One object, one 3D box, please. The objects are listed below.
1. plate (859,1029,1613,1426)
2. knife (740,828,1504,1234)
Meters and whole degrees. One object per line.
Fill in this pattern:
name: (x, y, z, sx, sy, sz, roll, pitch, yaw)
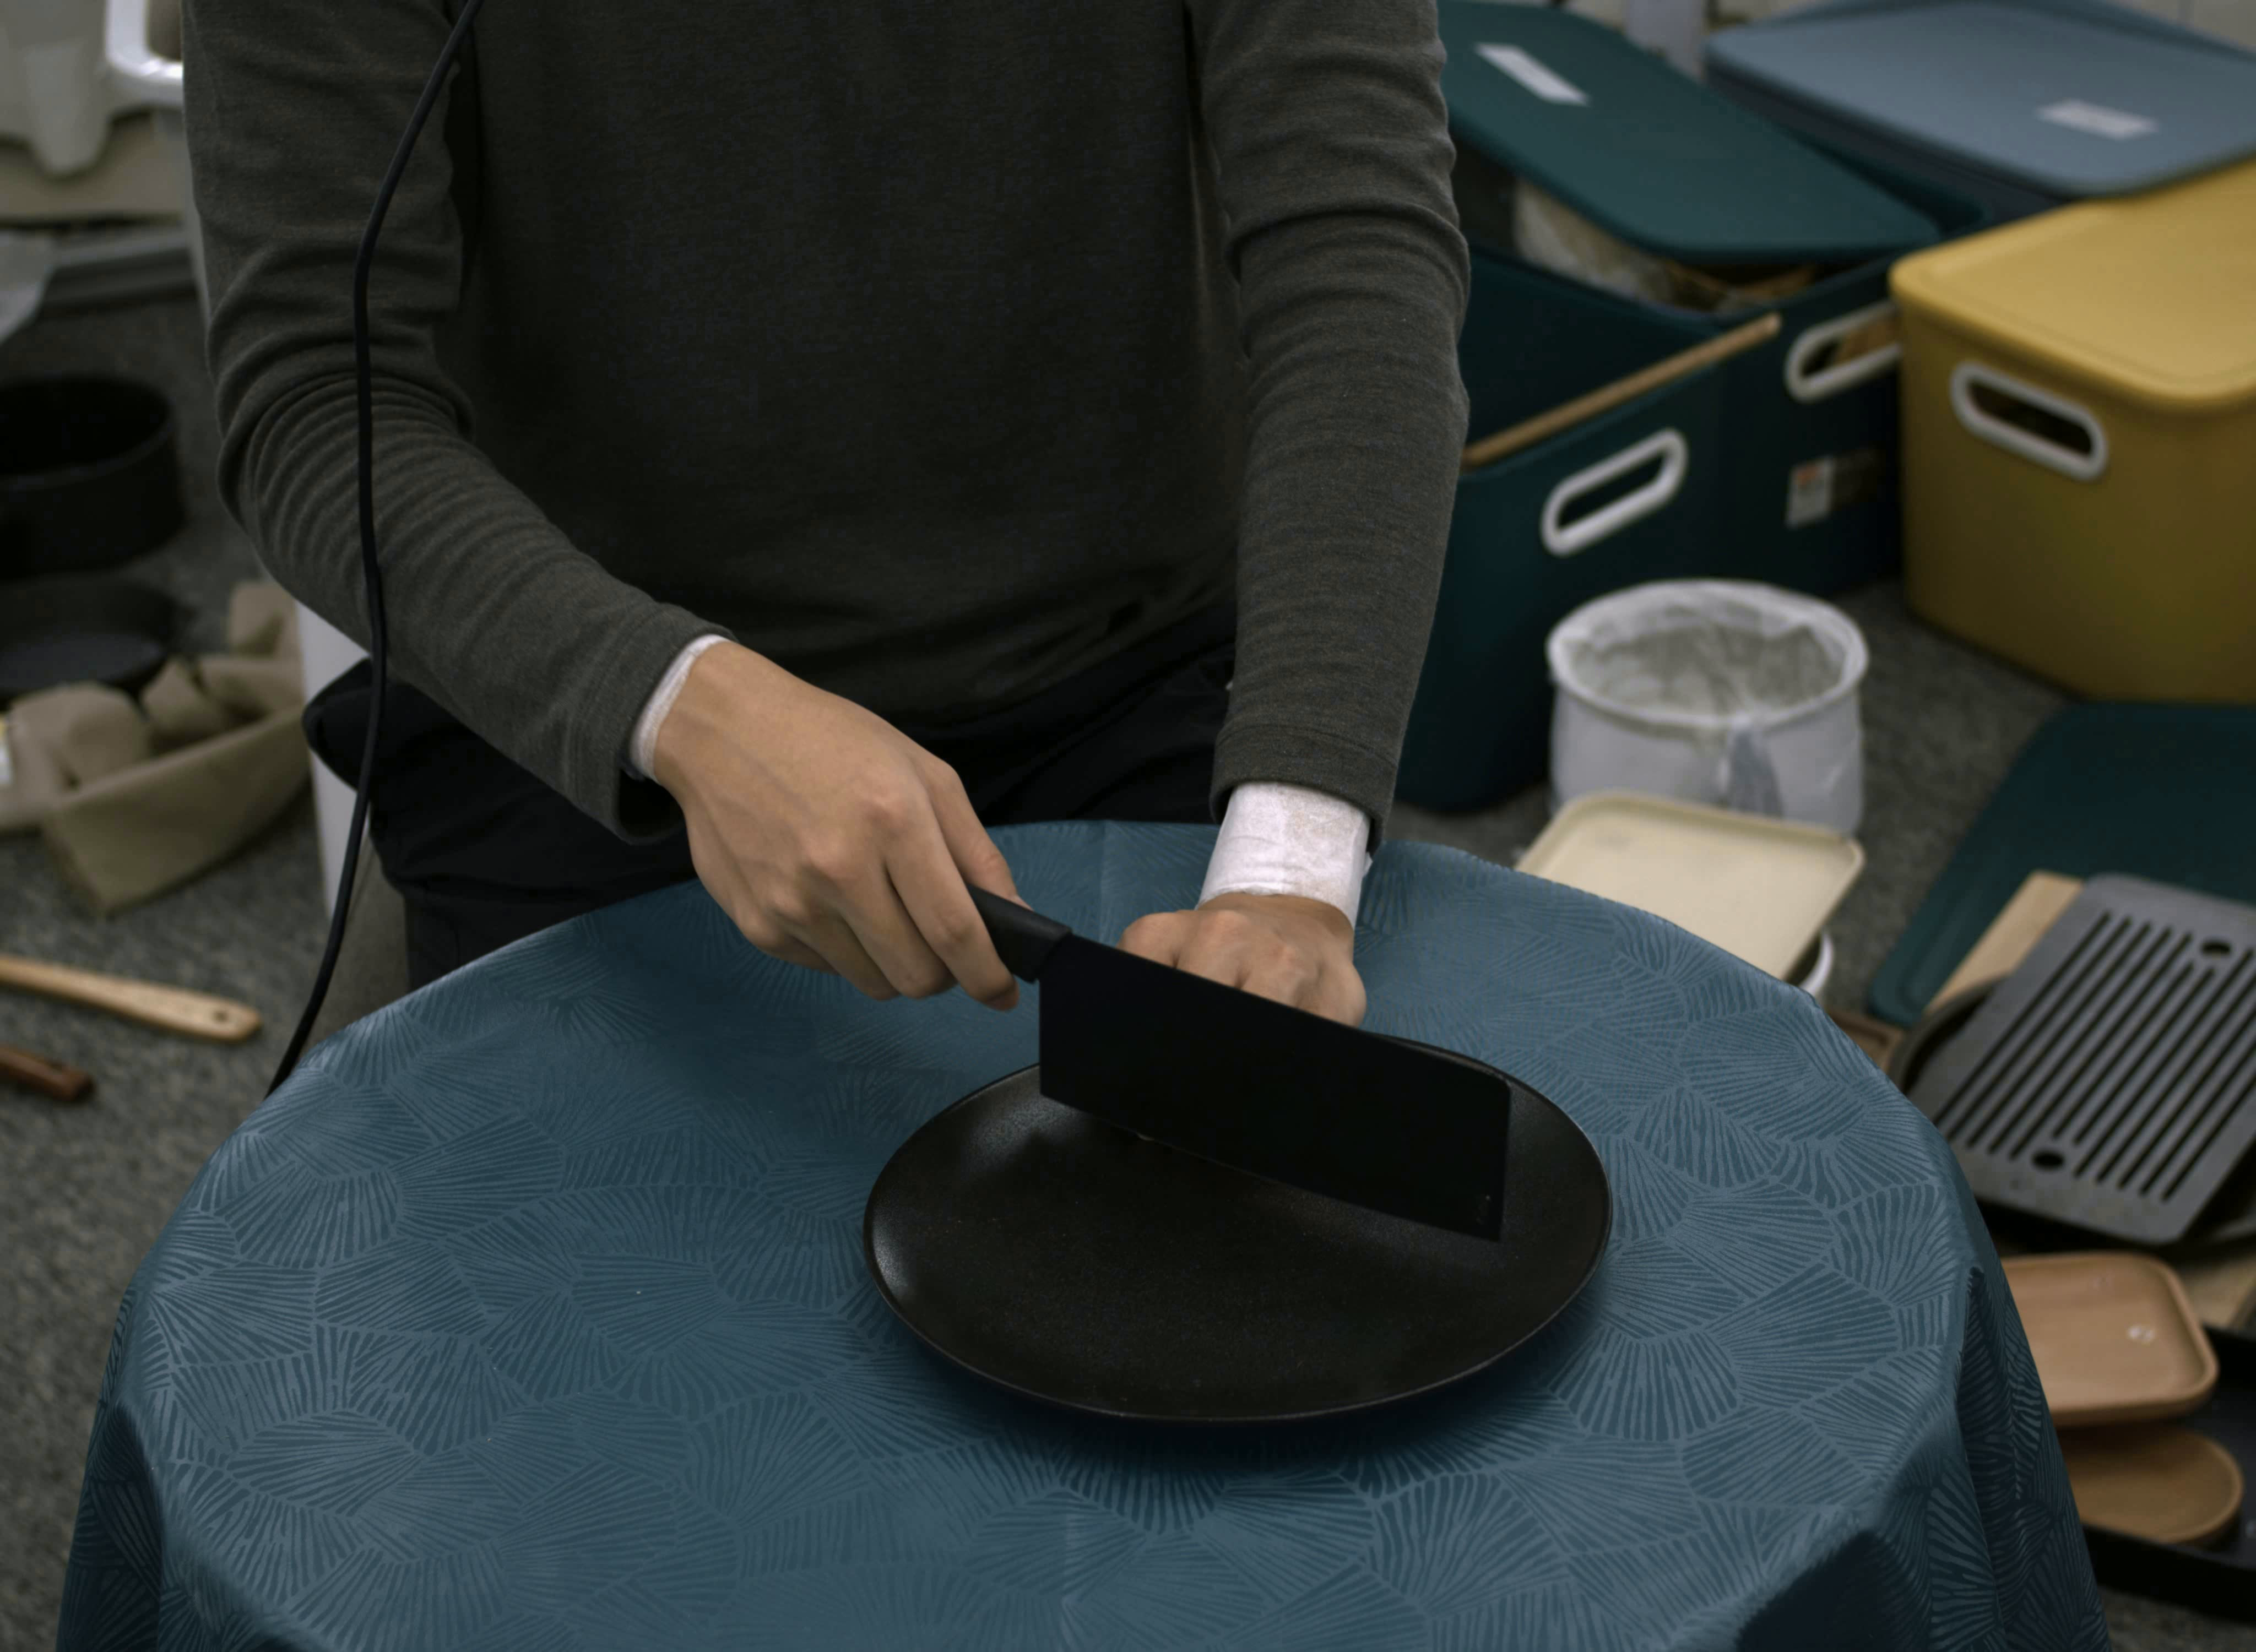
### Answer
plate: (0.035, 0.133, 1.812, 0.243, 0.023, 0.248, -2, 27, 1)
knife: (-0.005, 0.063, 1.849, 0.301, 0.080, 0.021, 22, 30, 28)
